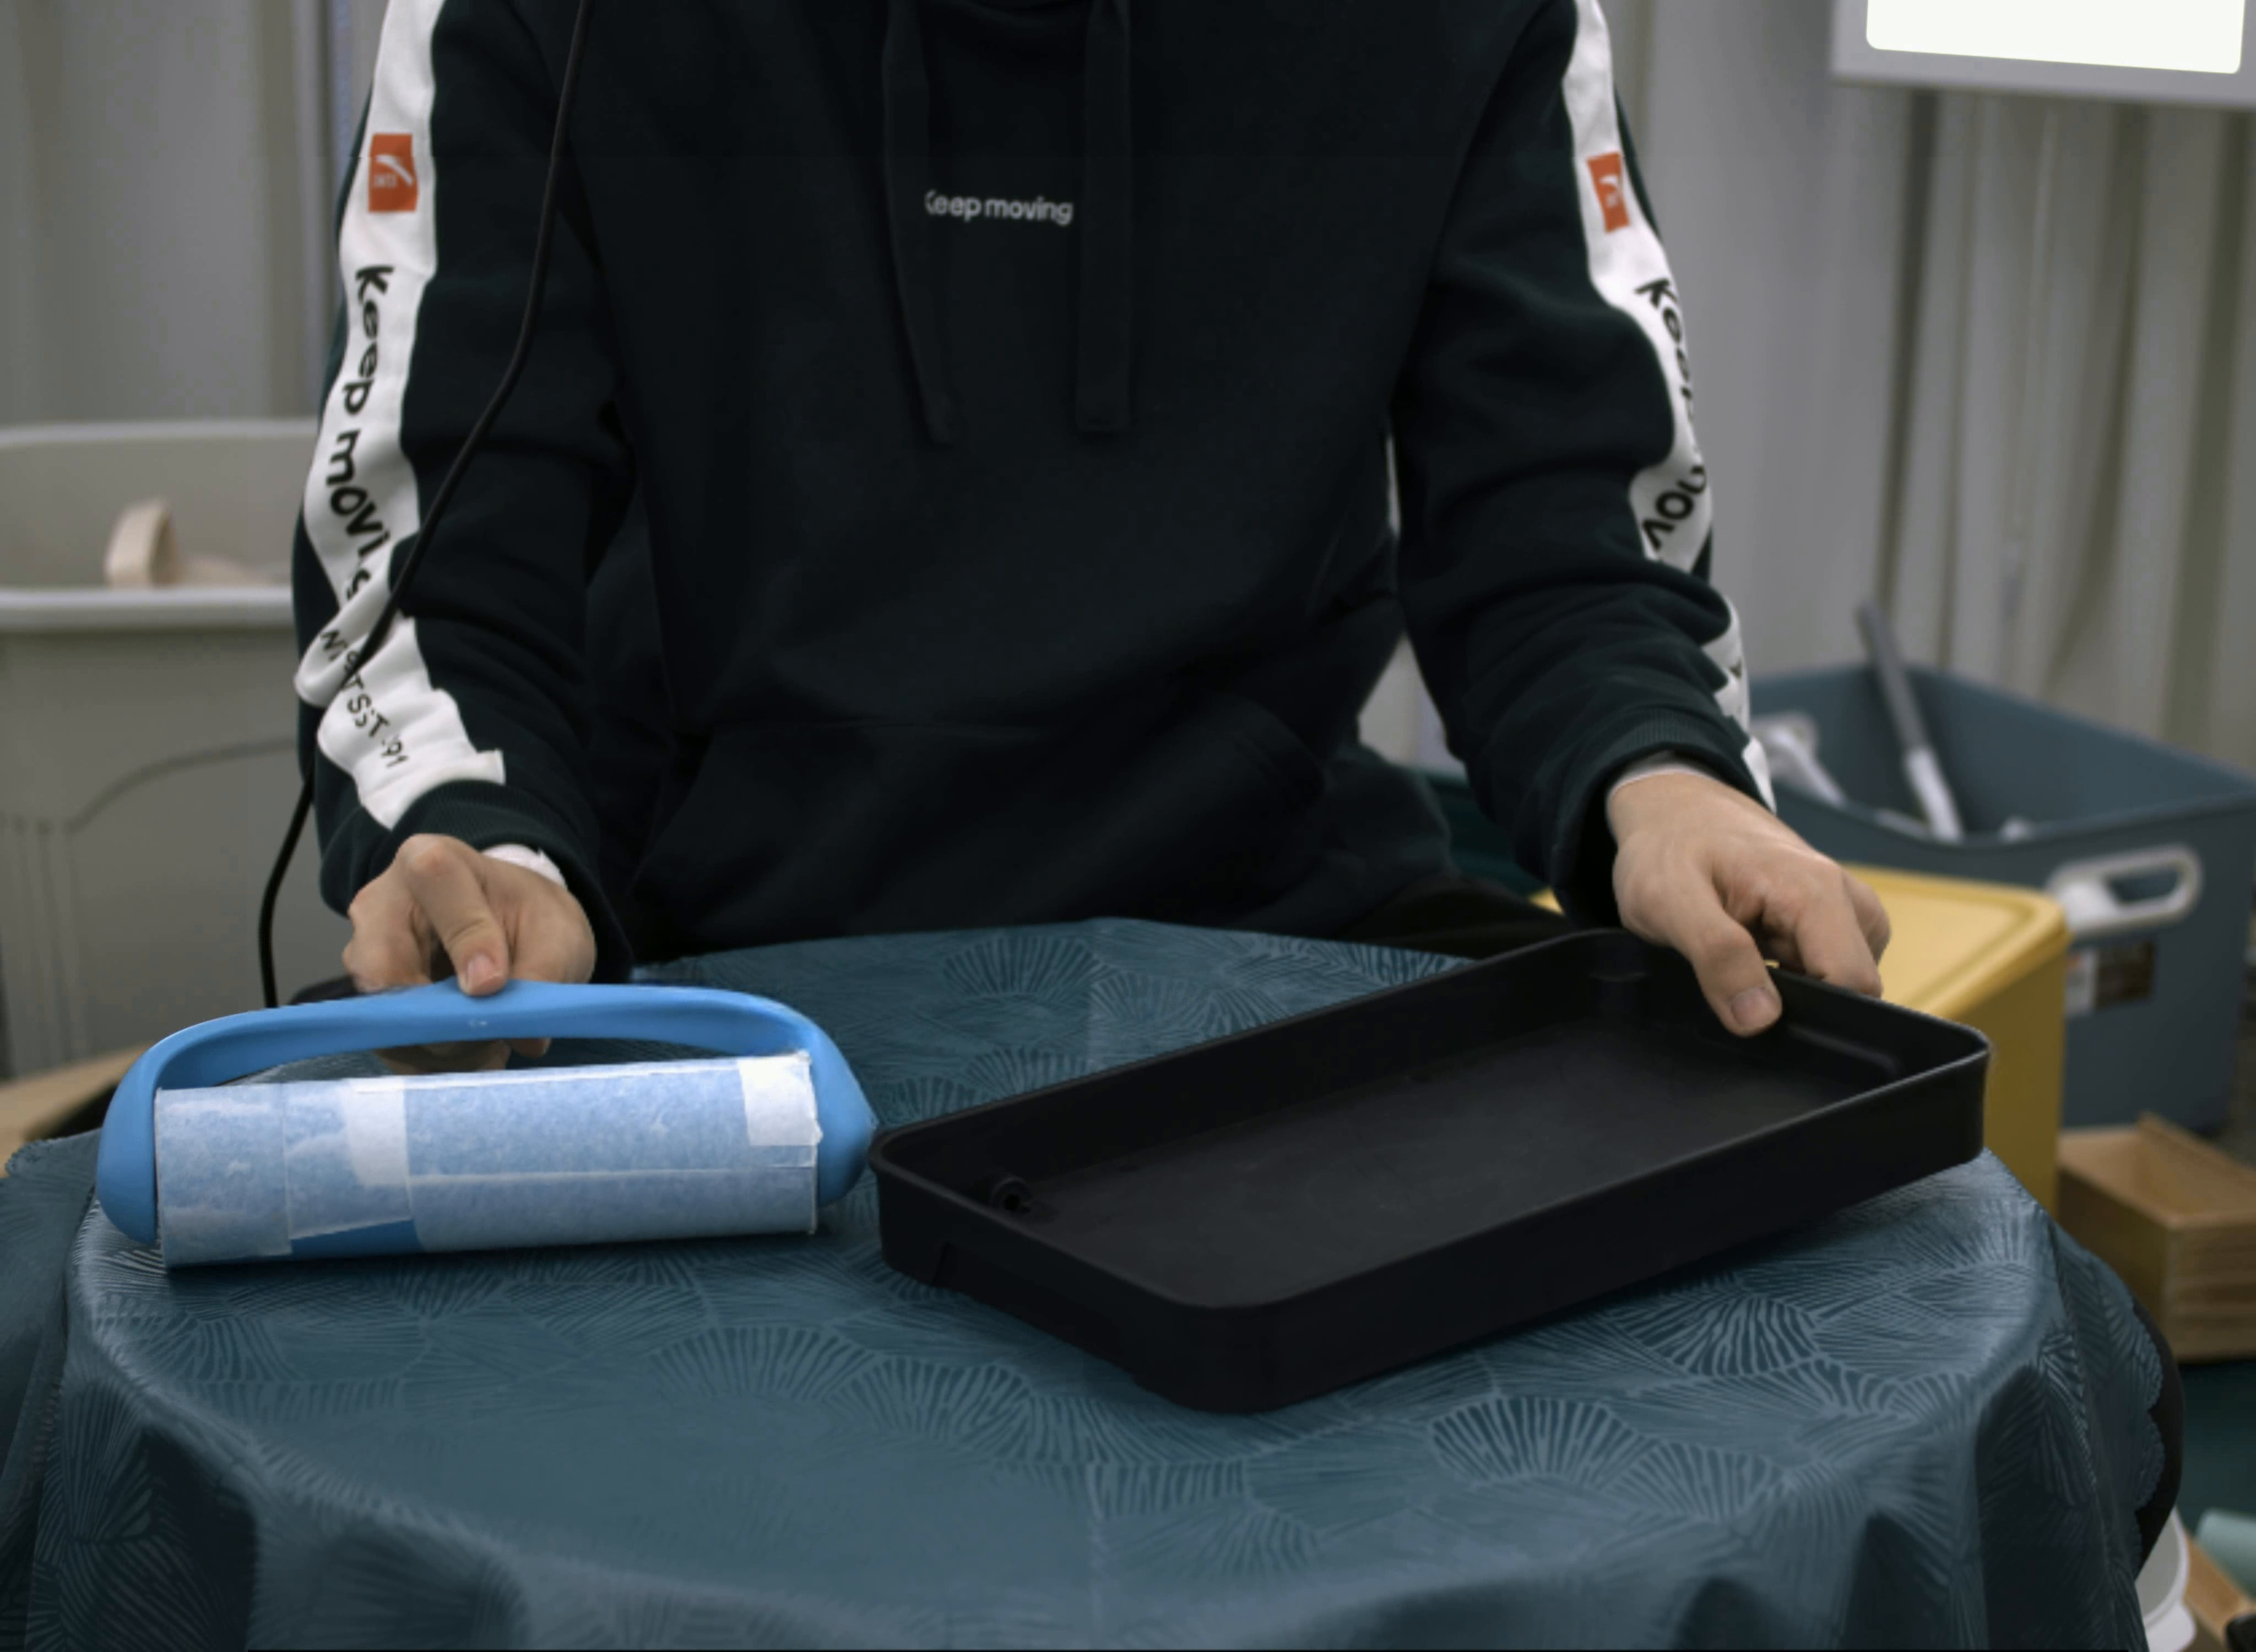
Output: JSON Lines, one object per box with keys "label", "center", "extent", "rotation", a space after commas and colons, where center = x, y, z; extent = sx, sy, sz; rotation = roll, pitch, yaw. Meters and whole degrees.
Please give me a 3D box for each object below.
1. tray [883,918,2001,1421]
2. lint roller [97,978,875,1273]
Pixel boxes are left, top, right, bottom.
{"label": "tray", "center": [0.098, 0.097, 1.590], "extent": [0.319, 0.037, 0.182], "rotation": [-17, 21, -37]}
{"label": "lint roller", "center": [-0.200, 0.078, 1.612], "extent": [0.229, 0.068, 0.178], "rotation": [-5, 21, -11]}
